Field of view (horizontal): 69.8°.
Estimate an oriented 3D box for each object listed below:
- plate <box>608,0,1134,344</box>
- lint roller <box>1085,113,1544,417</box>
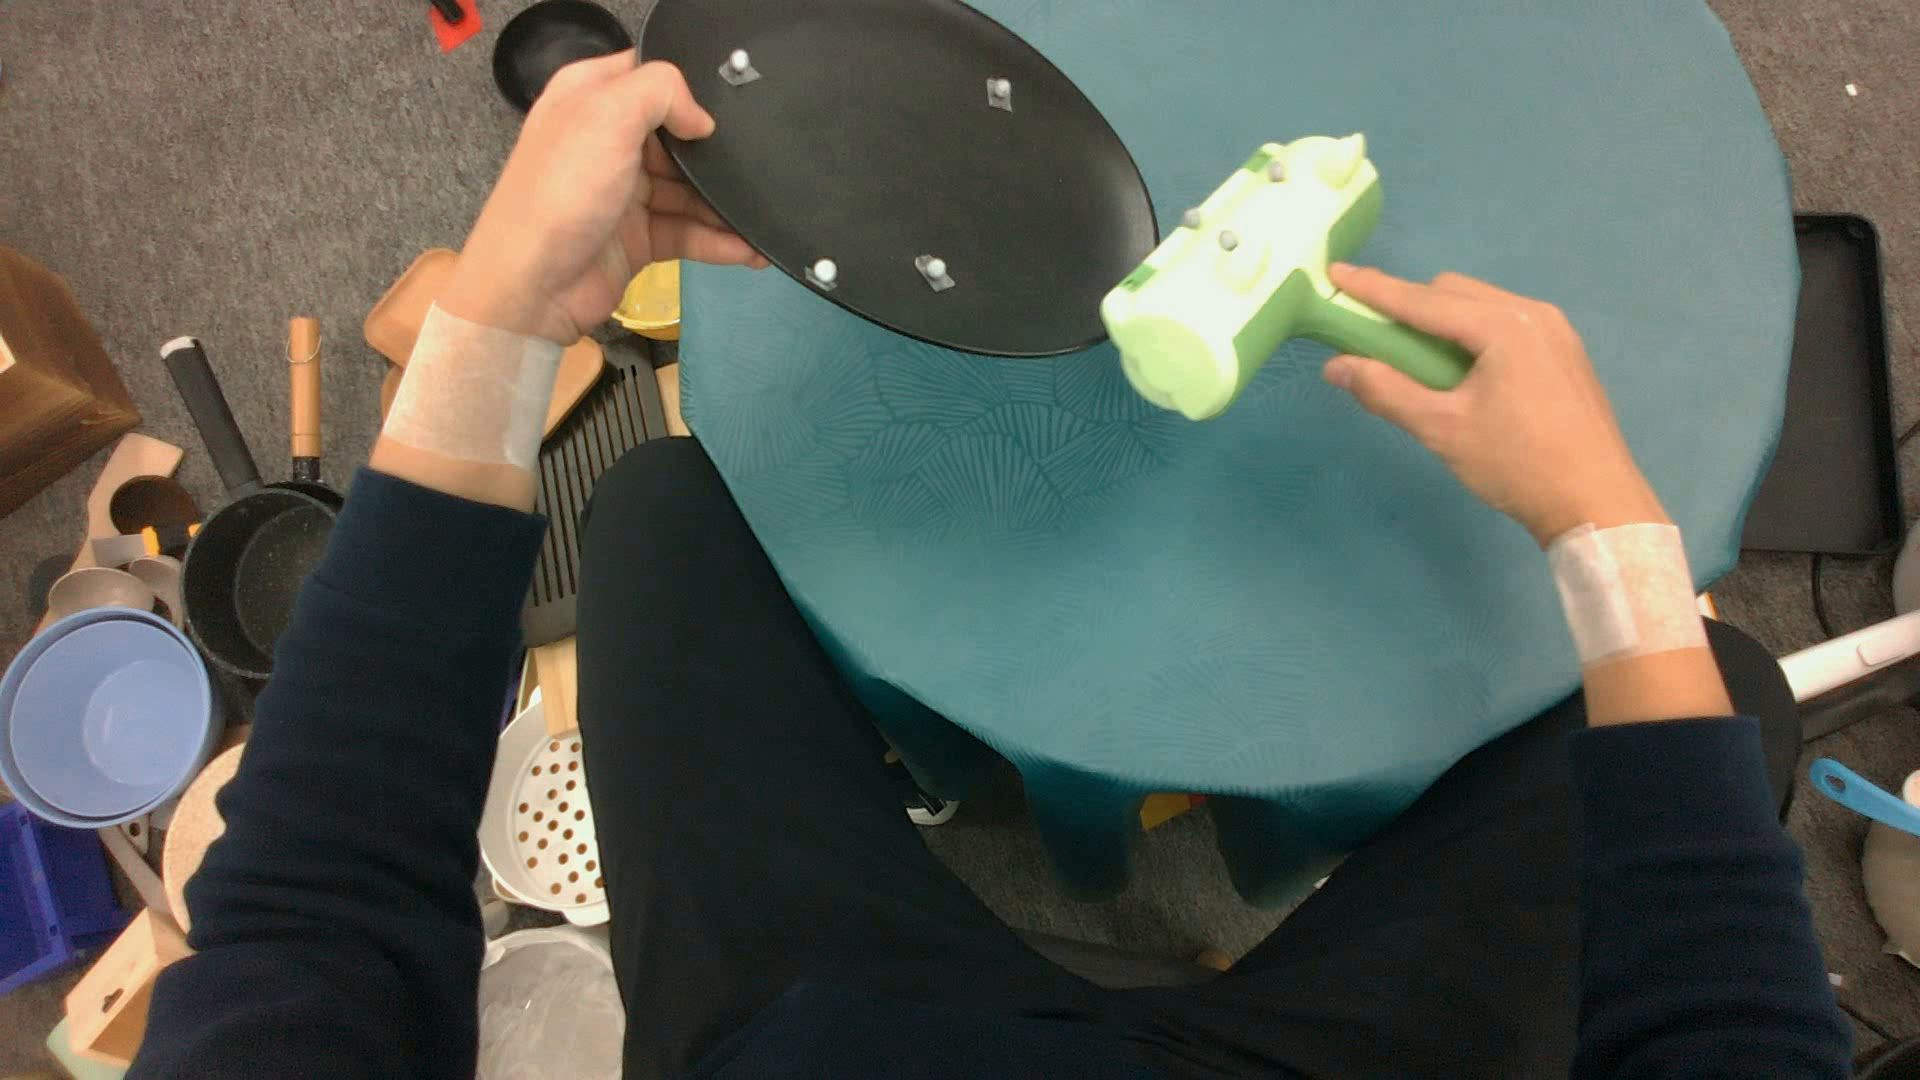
[{"bbox_3d":[-0.034,-0.173,0.604,0.244,0.023,0.245,16,49,-19],"label":"plate"},{"bbox_3d":[0.175,-0.117,0.605,0.183,0.082,0.199,23,45,19],"label":"lint roller"}]
